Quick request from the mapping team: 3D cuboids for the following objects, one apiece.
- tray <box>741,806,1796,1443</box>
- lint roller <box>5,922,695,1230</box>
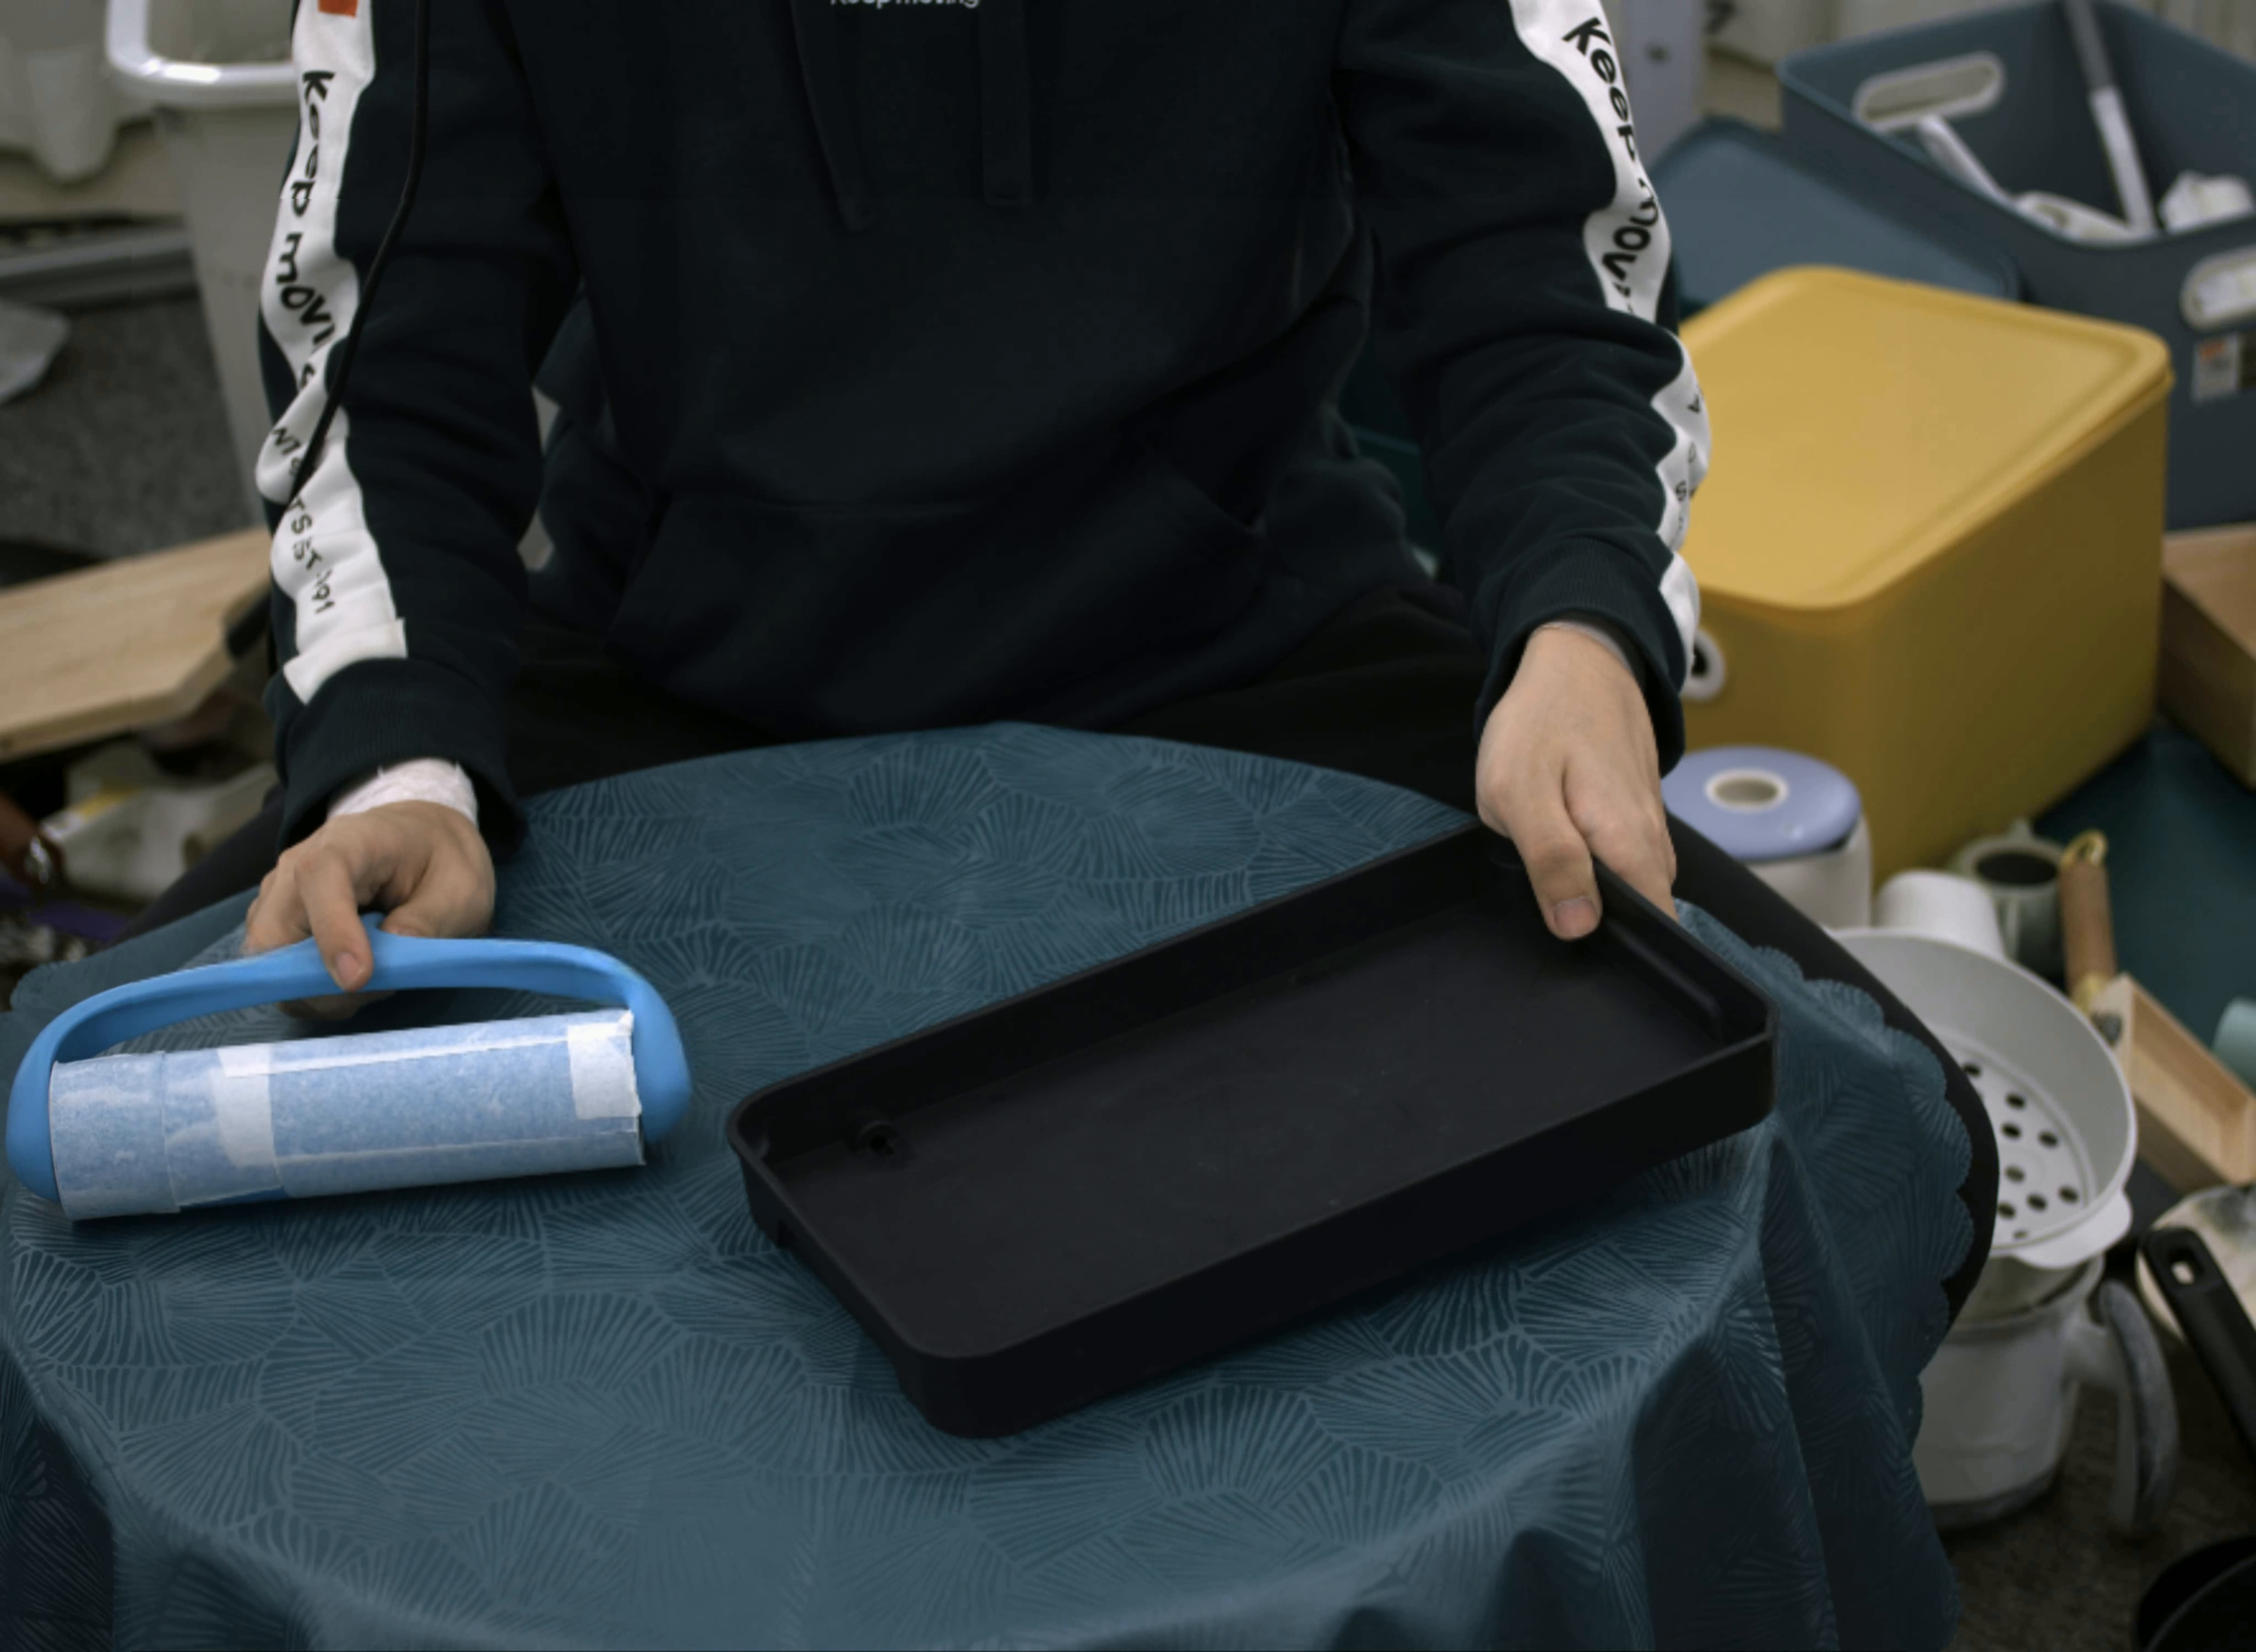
[{"bbox_3d":[0.047,0.092,1.847,0.320,0.036,0.185,-22,32,-21],"label":"tray"},{"bbox_3d":[-0.267,0.069,1.927,0.228,0.067,0.182,-8,29,-6],"label":"lint roller"}]
